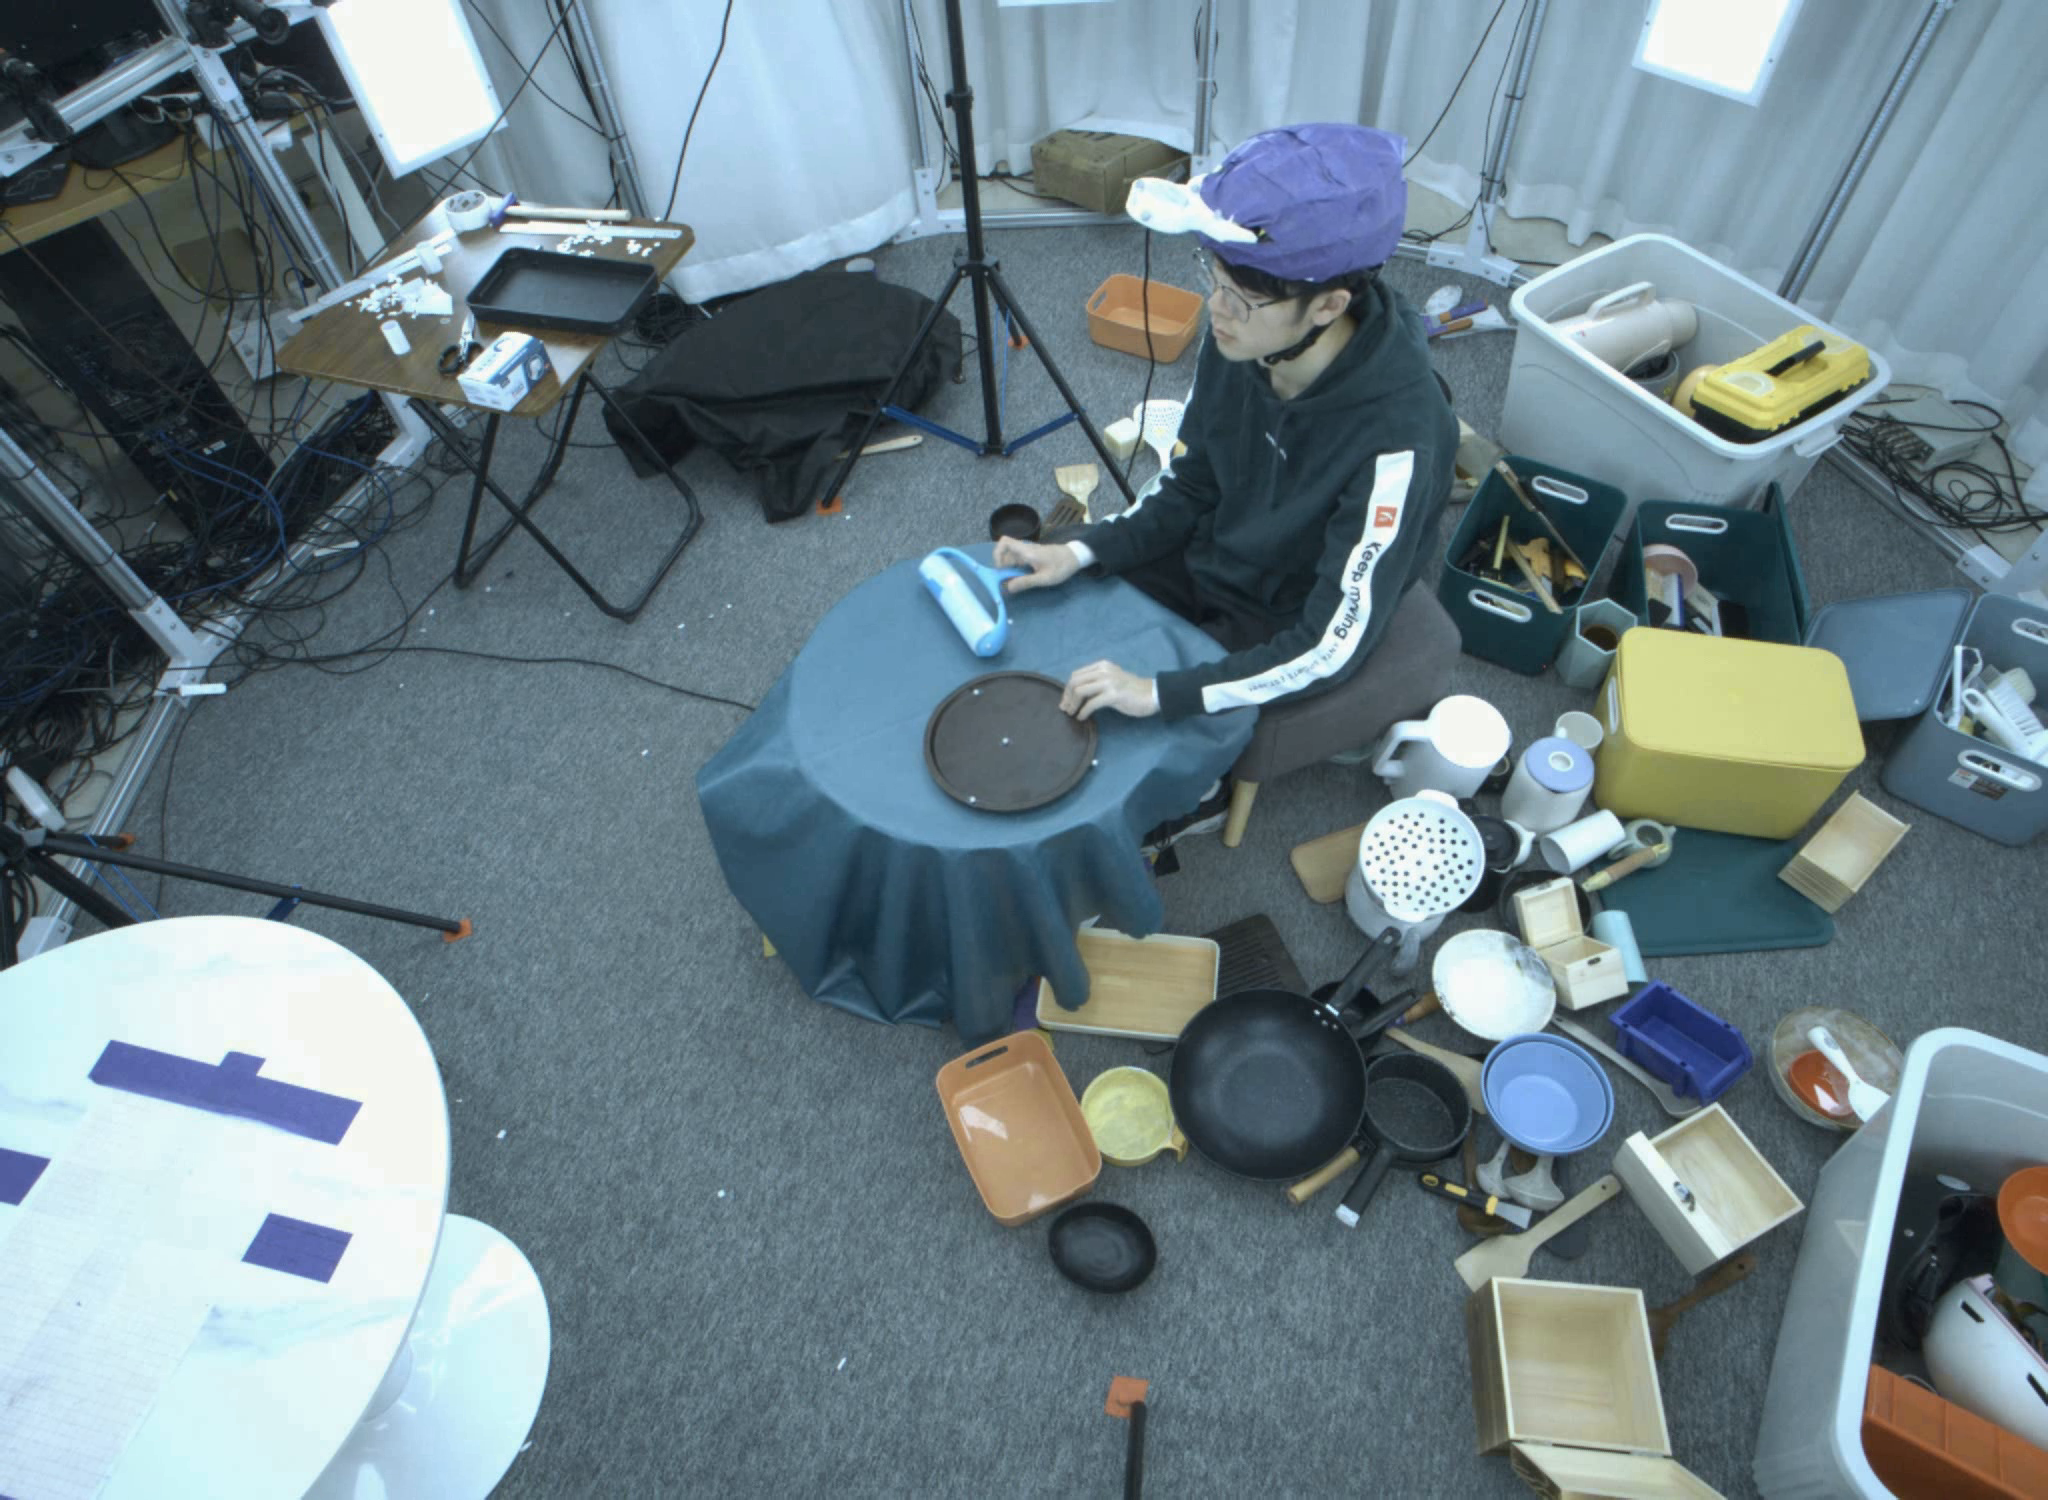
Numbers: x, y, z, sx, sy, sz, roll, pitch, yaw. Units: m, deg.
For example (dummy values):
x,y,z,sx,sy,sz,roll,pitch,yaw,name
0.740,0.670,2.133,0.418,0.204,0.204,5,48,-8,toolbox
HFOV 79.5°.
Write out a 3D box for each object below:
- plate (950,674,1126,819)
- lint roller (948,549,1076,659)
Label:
x,y,z,sx,sy,sz,roll,pitch,yaw,name
0.020,-0.007,1.772,0.254,0.029,0.252,0,56,2,plate
-0.002,-0.251,1.926,0.181,0.069,0.224,-27,56,-15,lint roller
